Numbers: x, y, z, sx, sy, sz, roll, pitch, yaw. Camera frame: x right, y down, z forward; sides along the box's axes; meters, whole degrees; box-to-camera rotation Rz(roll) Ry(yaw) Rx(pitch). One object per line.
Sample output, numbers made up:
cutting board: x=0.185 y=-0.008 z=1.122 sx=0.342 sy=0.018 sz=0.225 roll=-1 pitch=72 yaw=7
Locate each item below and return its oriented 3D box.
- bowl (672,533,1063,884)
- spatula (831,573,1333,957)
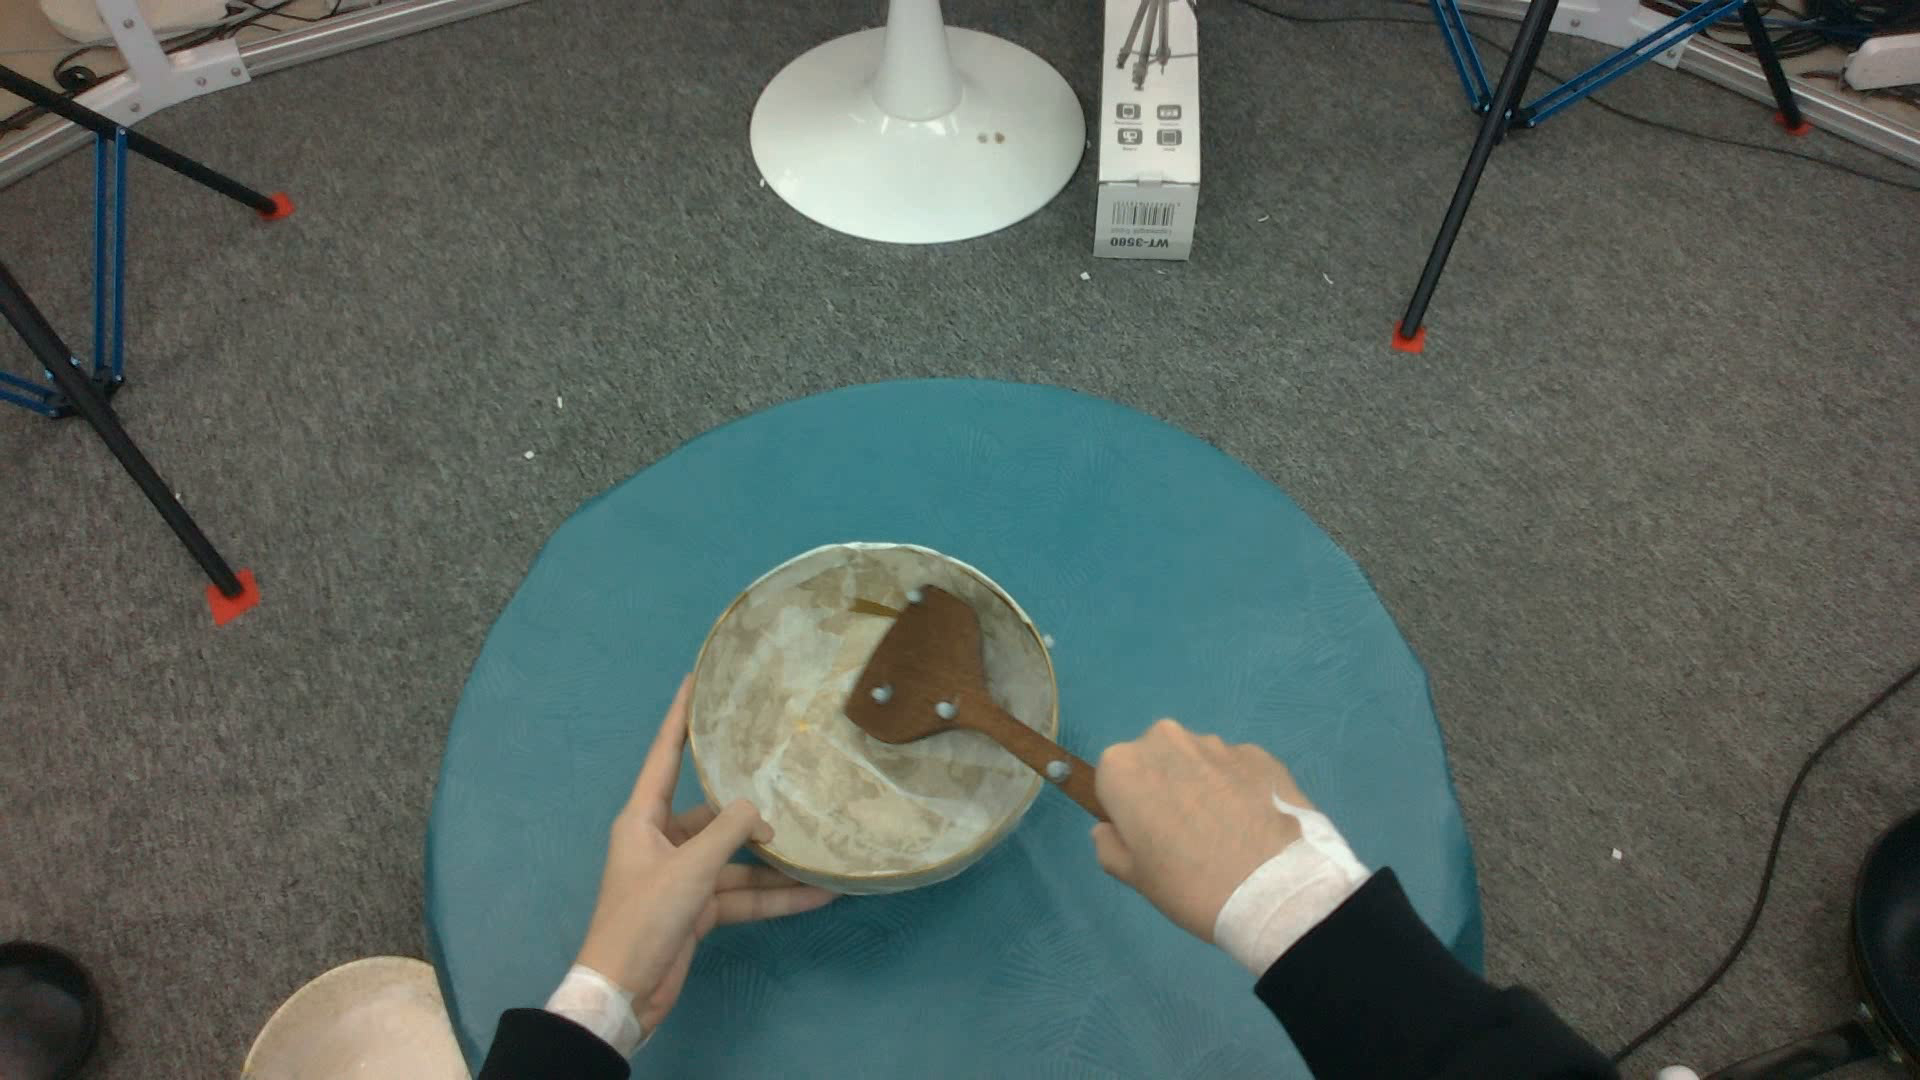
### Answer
bowl: x=-0.053 y=0.106 z=0.770 sx=0.215 sy=0.094 sz=0.215 roll=3 pitch=56 yaw=-4
spatula: x=0.038 y=0.100 z=0.661 sx=0.096 sy=0.016 sz=0.386 roll=-57 pitch=32 yaw=-5
